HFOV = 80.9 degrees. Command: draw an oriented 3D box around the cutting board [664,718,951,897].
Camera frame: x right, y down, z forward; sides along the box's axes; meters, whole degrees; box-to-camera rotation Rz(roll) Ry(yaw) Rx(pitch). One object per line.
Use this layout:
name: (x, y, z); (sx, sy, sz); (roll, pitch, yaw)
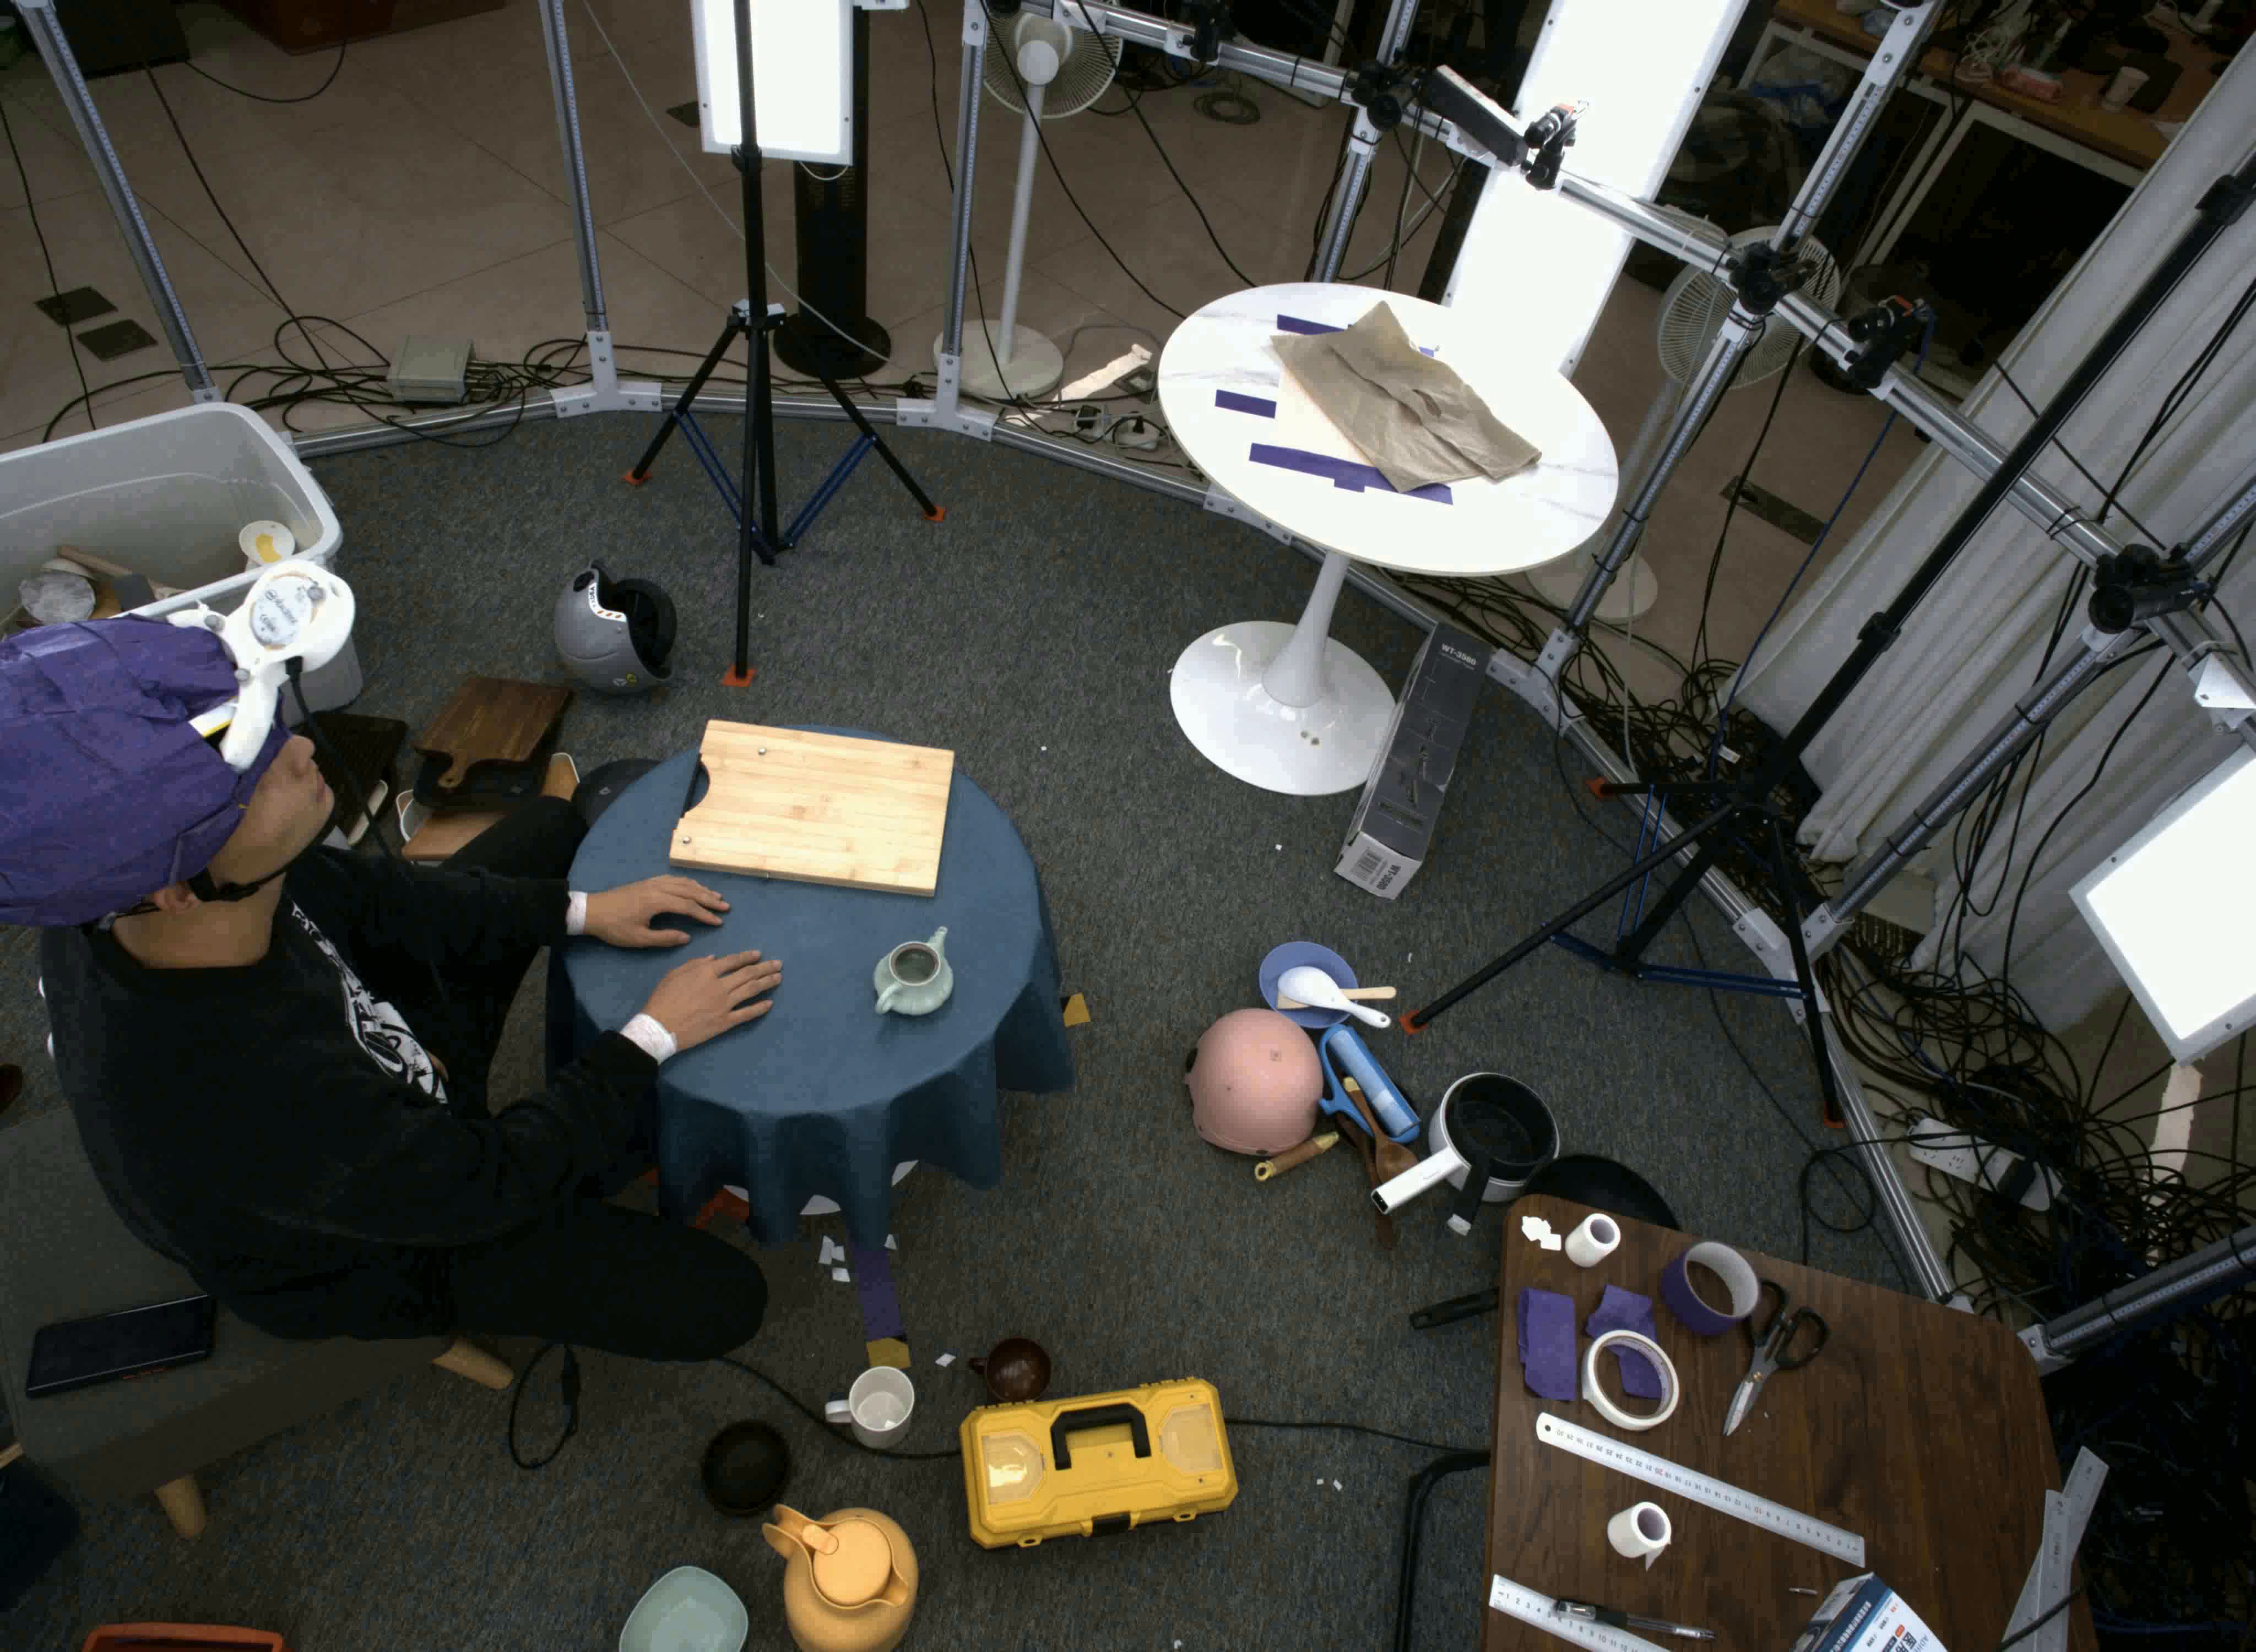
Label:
cutting board: (-0.420, -0.029, 1.733); (0.348, 0.024, 0.246); (7, 53, -10)

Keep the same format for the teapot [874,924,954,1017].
teapot: (-0.263, 0.182, 1.588); (0.095, 0.062, 0.136); (29, 52, 8)
